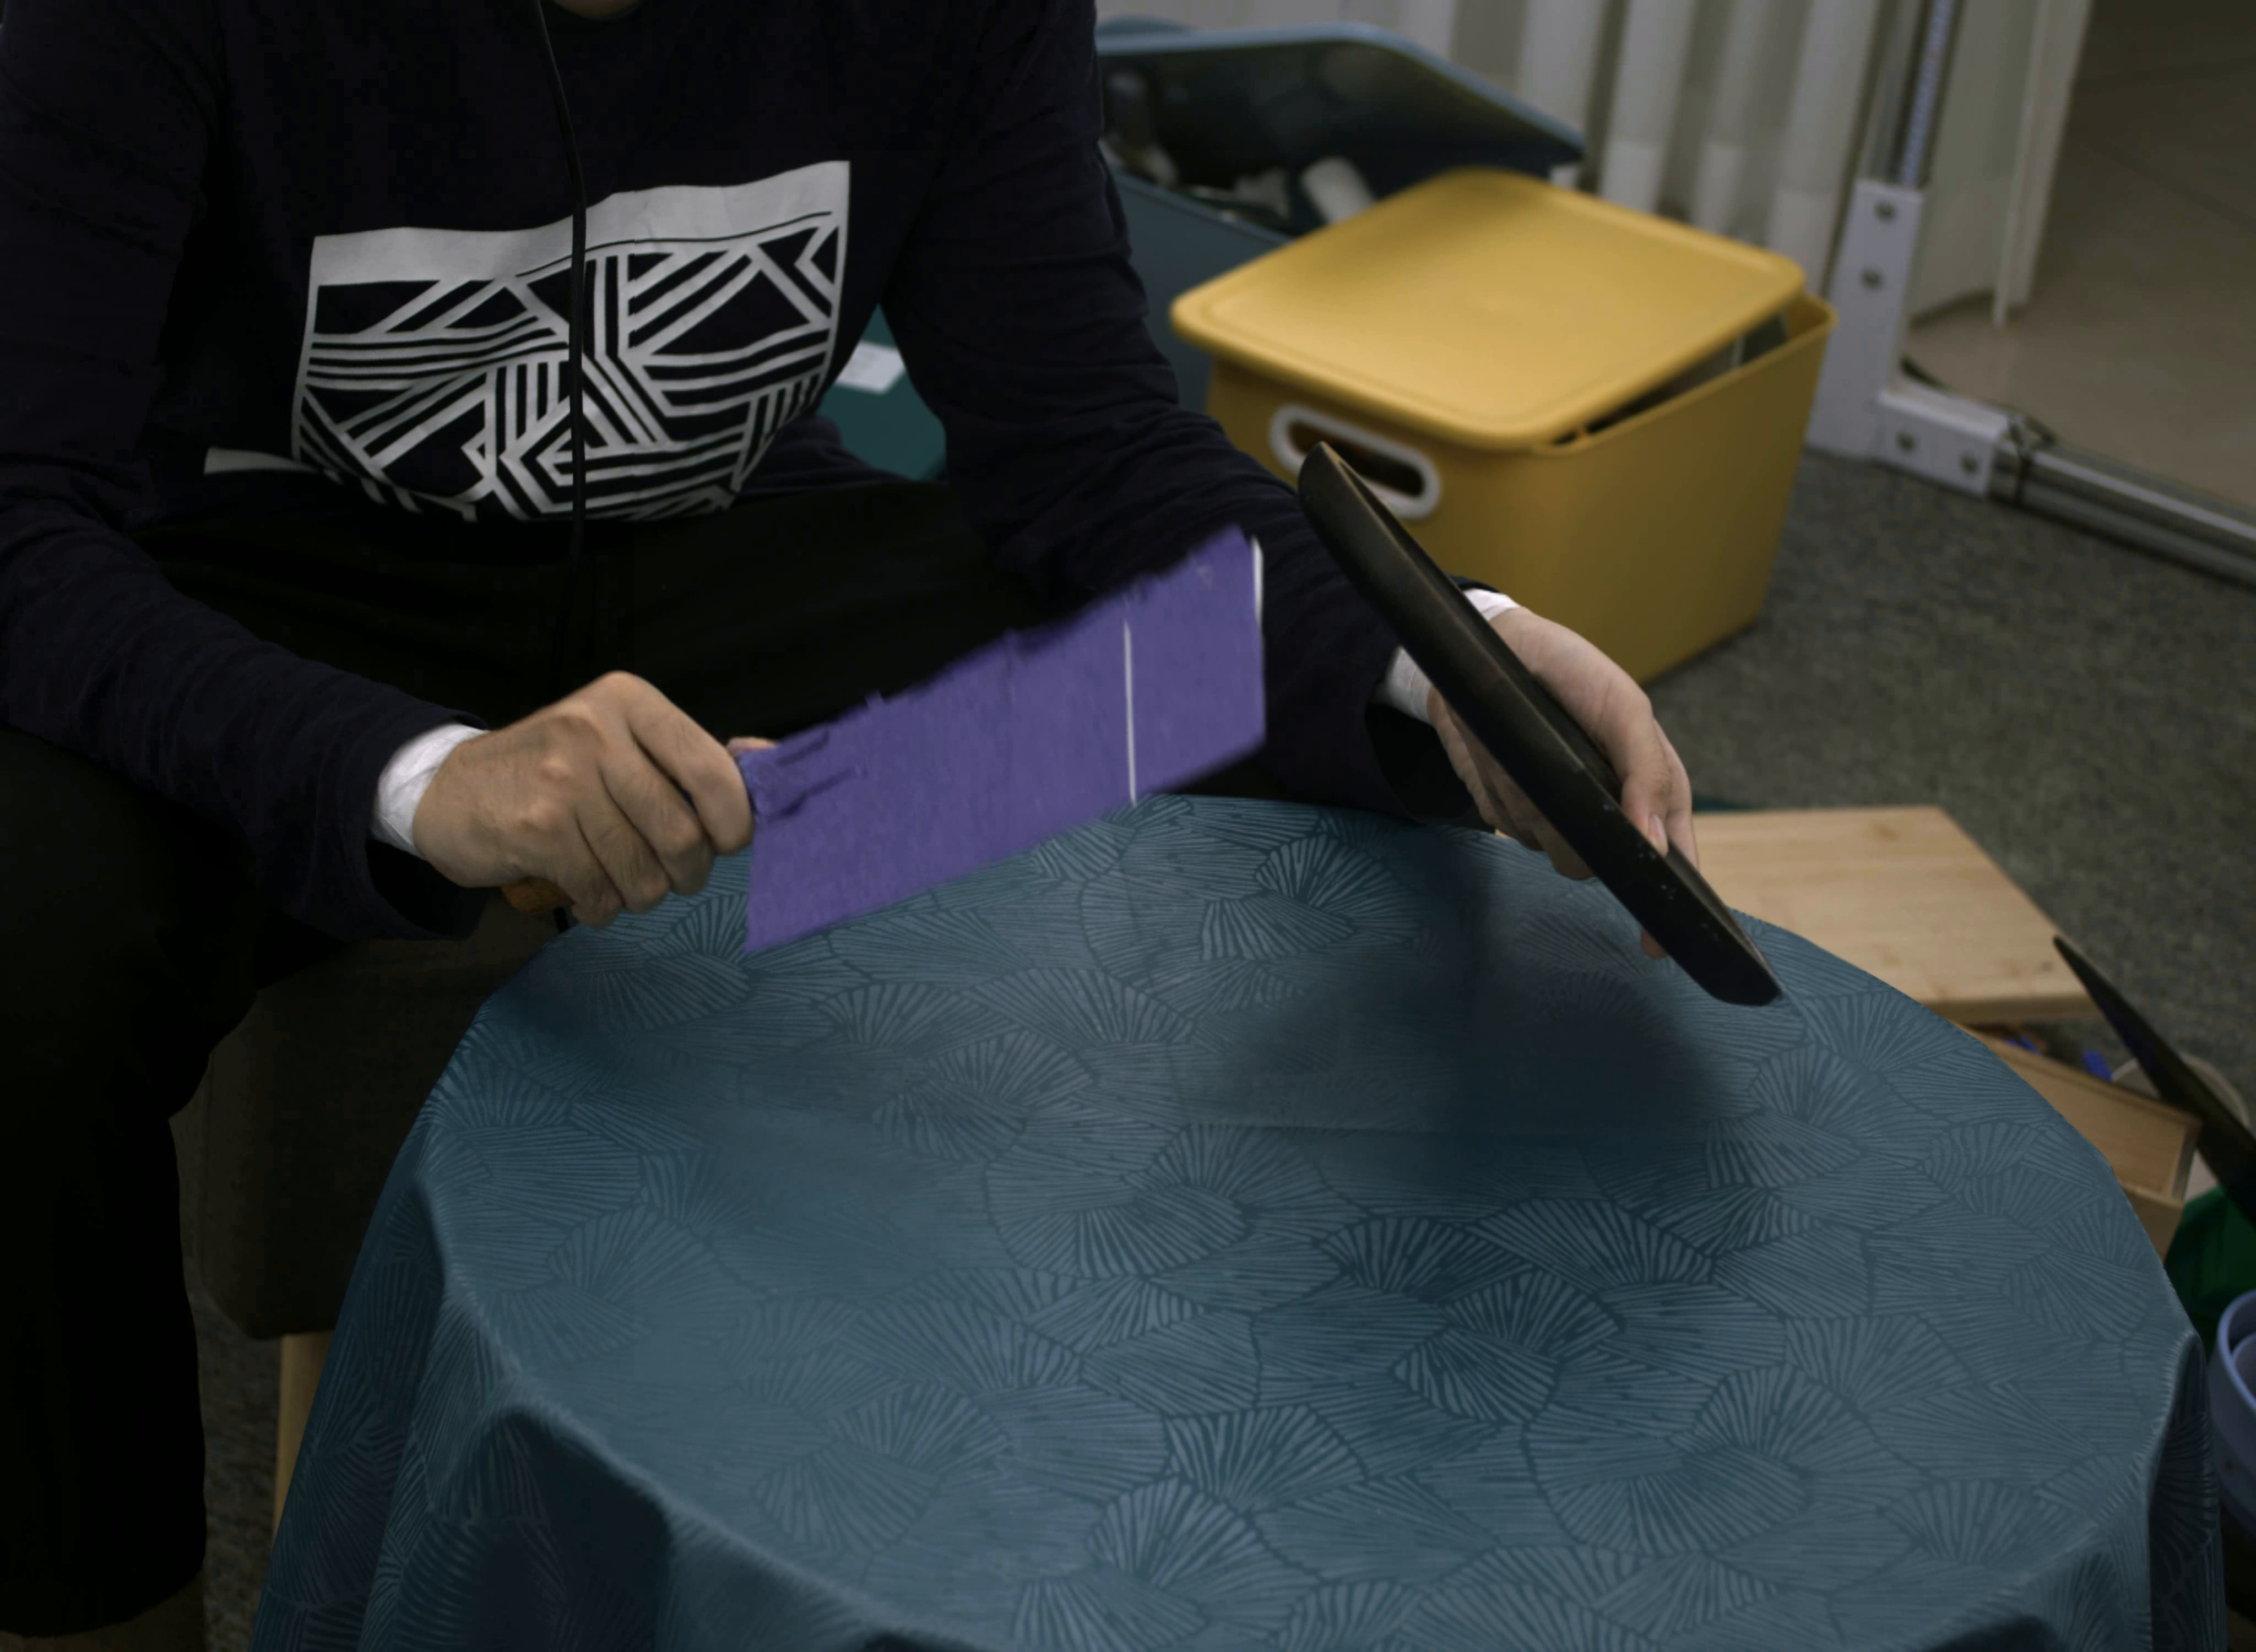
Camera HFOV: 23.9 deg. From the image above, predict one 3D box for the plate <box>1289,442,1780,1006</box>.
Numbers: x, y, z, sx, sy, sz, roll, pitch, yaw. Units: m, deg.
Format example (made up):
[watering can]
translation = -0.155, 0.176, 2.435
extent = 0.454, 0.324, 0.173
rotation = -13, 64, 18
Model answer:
[plate]
translation = 0.141, -0.034, 1.869
extent = 0.254, 0.029, 0.255
rotation = 48, 7, -9

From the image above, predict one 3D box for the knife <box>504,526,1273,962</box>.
[knife]
translation = -0.085, -0.007, 1.785
extent = 0.315, 0.032, 0.104
rotation = -24, 43, 28
